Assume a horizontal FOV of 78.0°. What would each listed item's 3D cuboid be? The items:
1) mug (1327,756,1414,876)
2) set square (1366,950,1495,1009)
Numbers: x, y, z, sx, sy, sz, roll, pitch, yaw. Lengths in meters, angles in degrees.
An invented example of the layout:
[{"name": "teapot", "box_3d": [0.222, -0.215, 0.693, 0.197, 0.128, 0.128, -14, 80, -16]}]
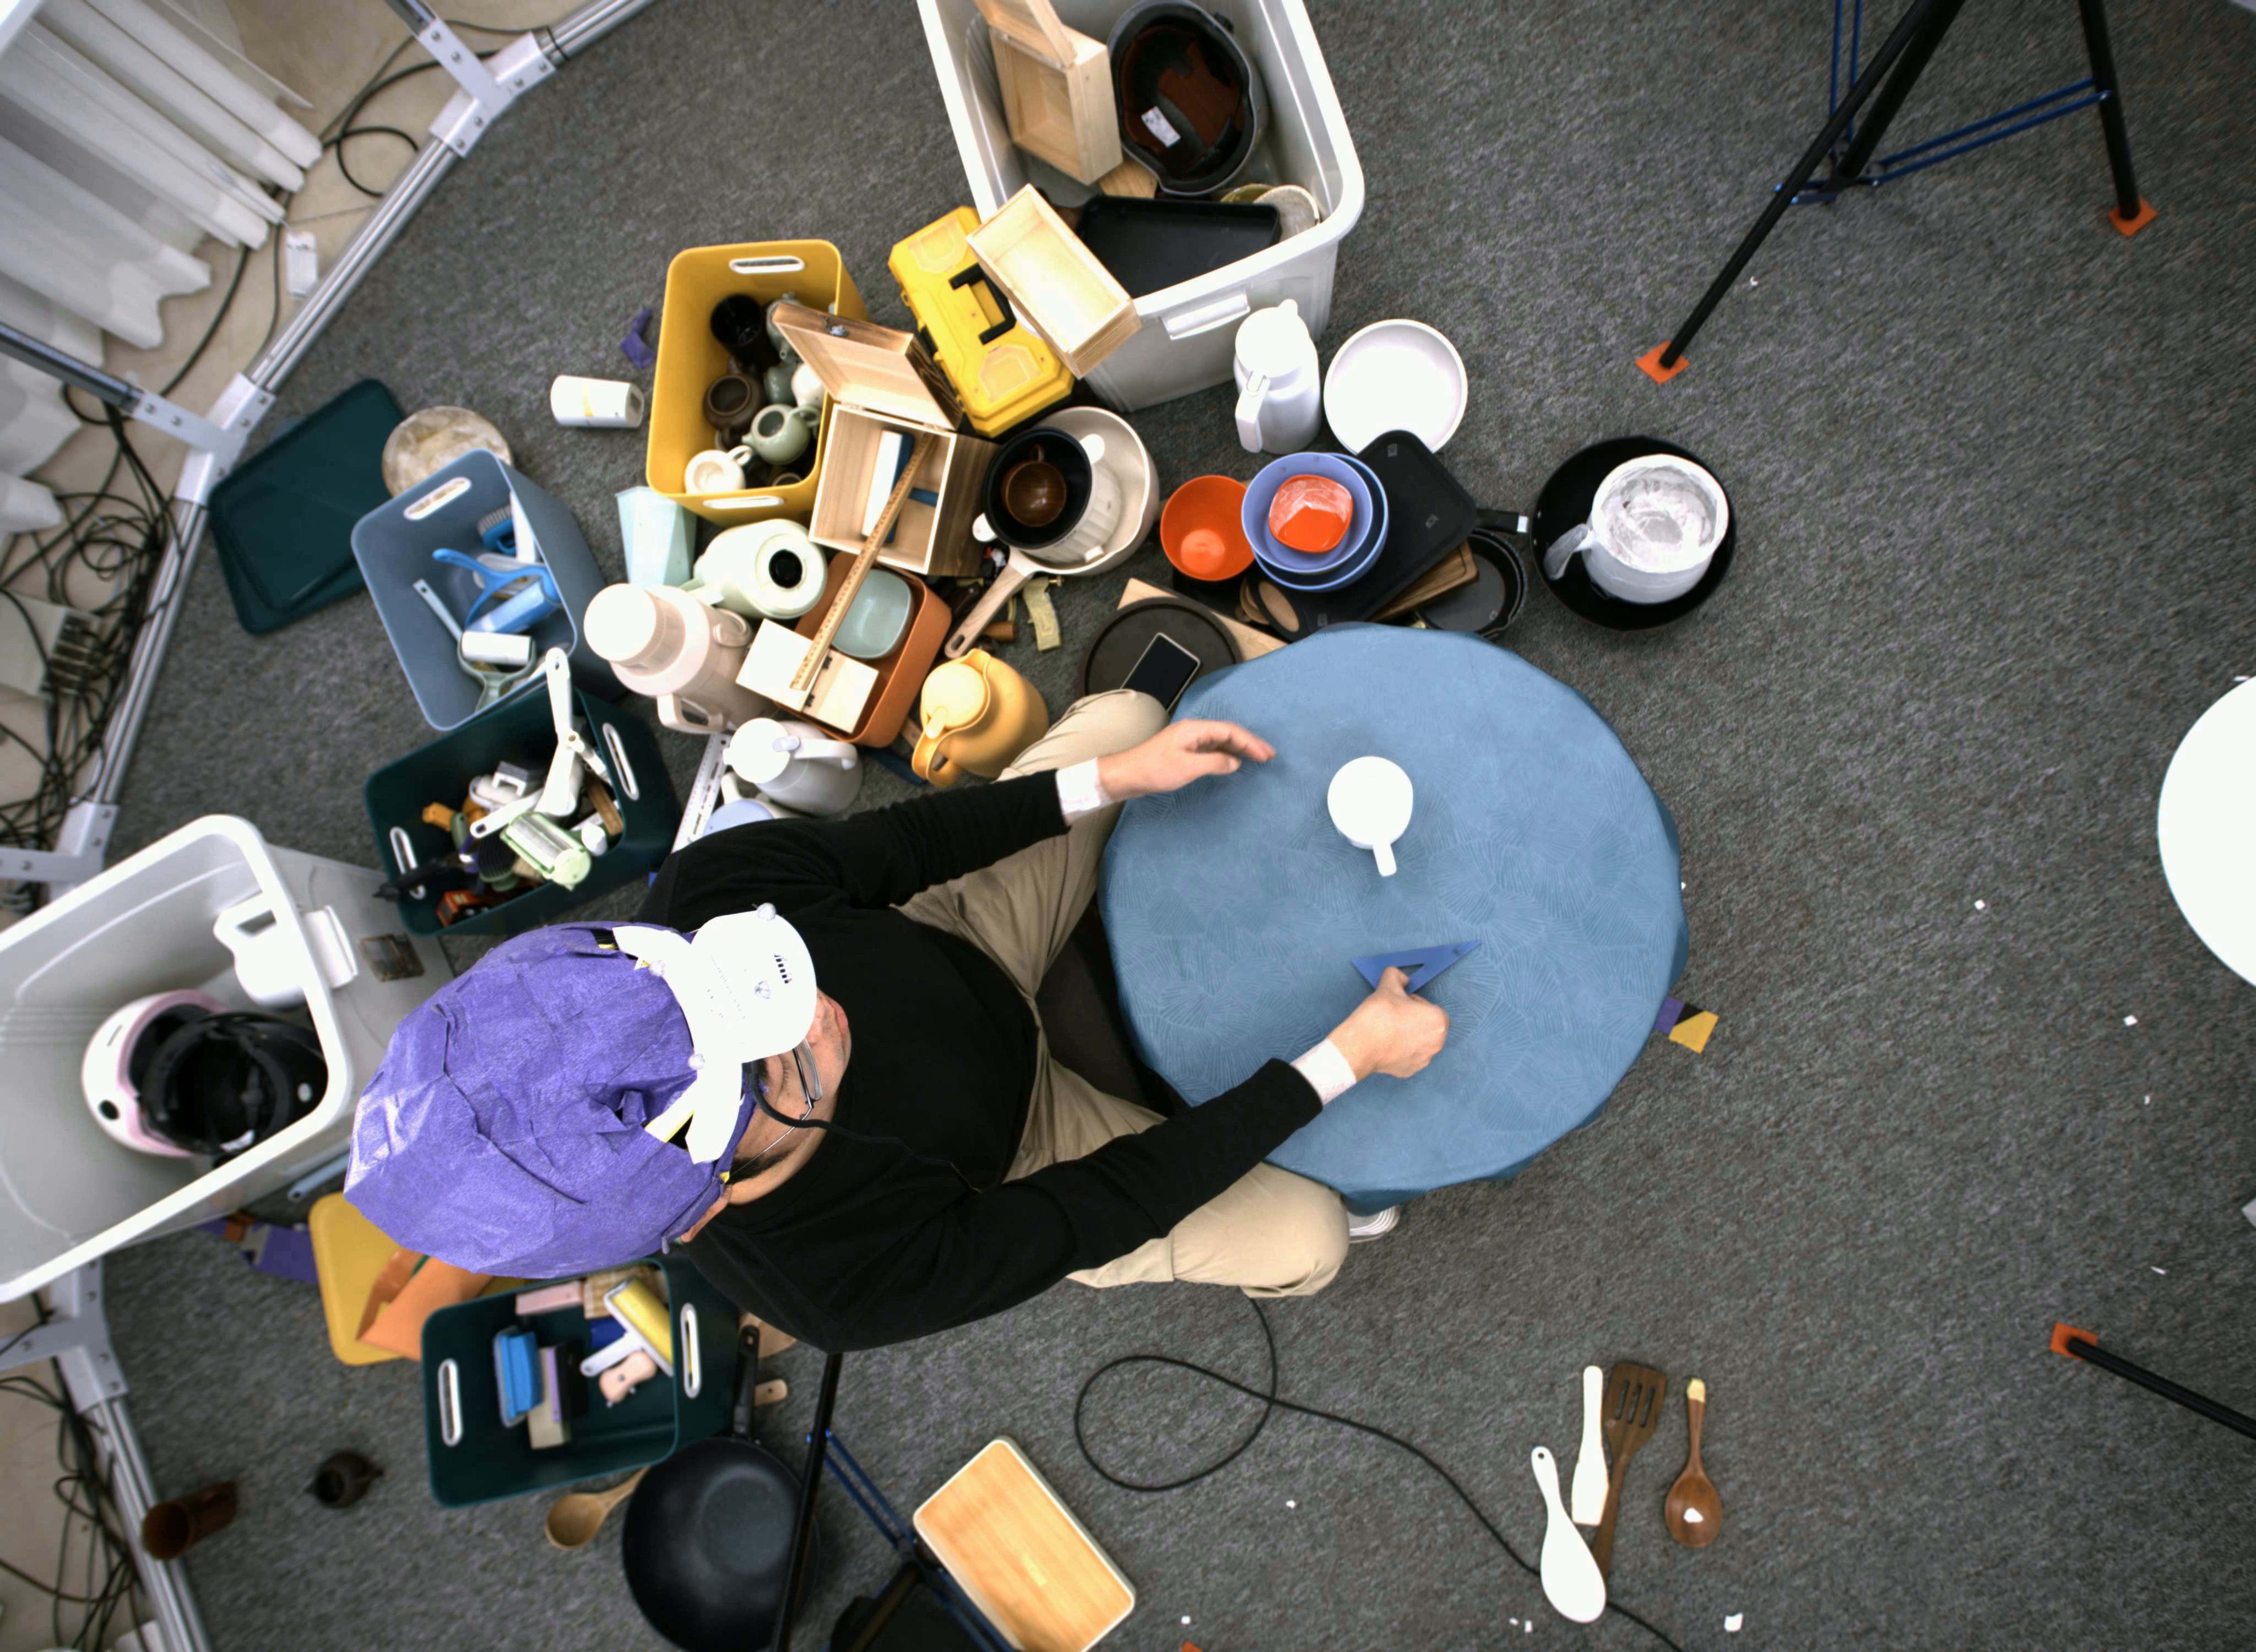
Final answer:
[{"name": "mug", "box_3d": [0.253, -0.008, 1.416, 0.085, 0.102, 0.117, -14, 83, 8]}, {"name": "set square", "box_3d": [0.315, 0.157, 1.433, 0.132, 0.006, 0.060, -5, 65, 11]}]
